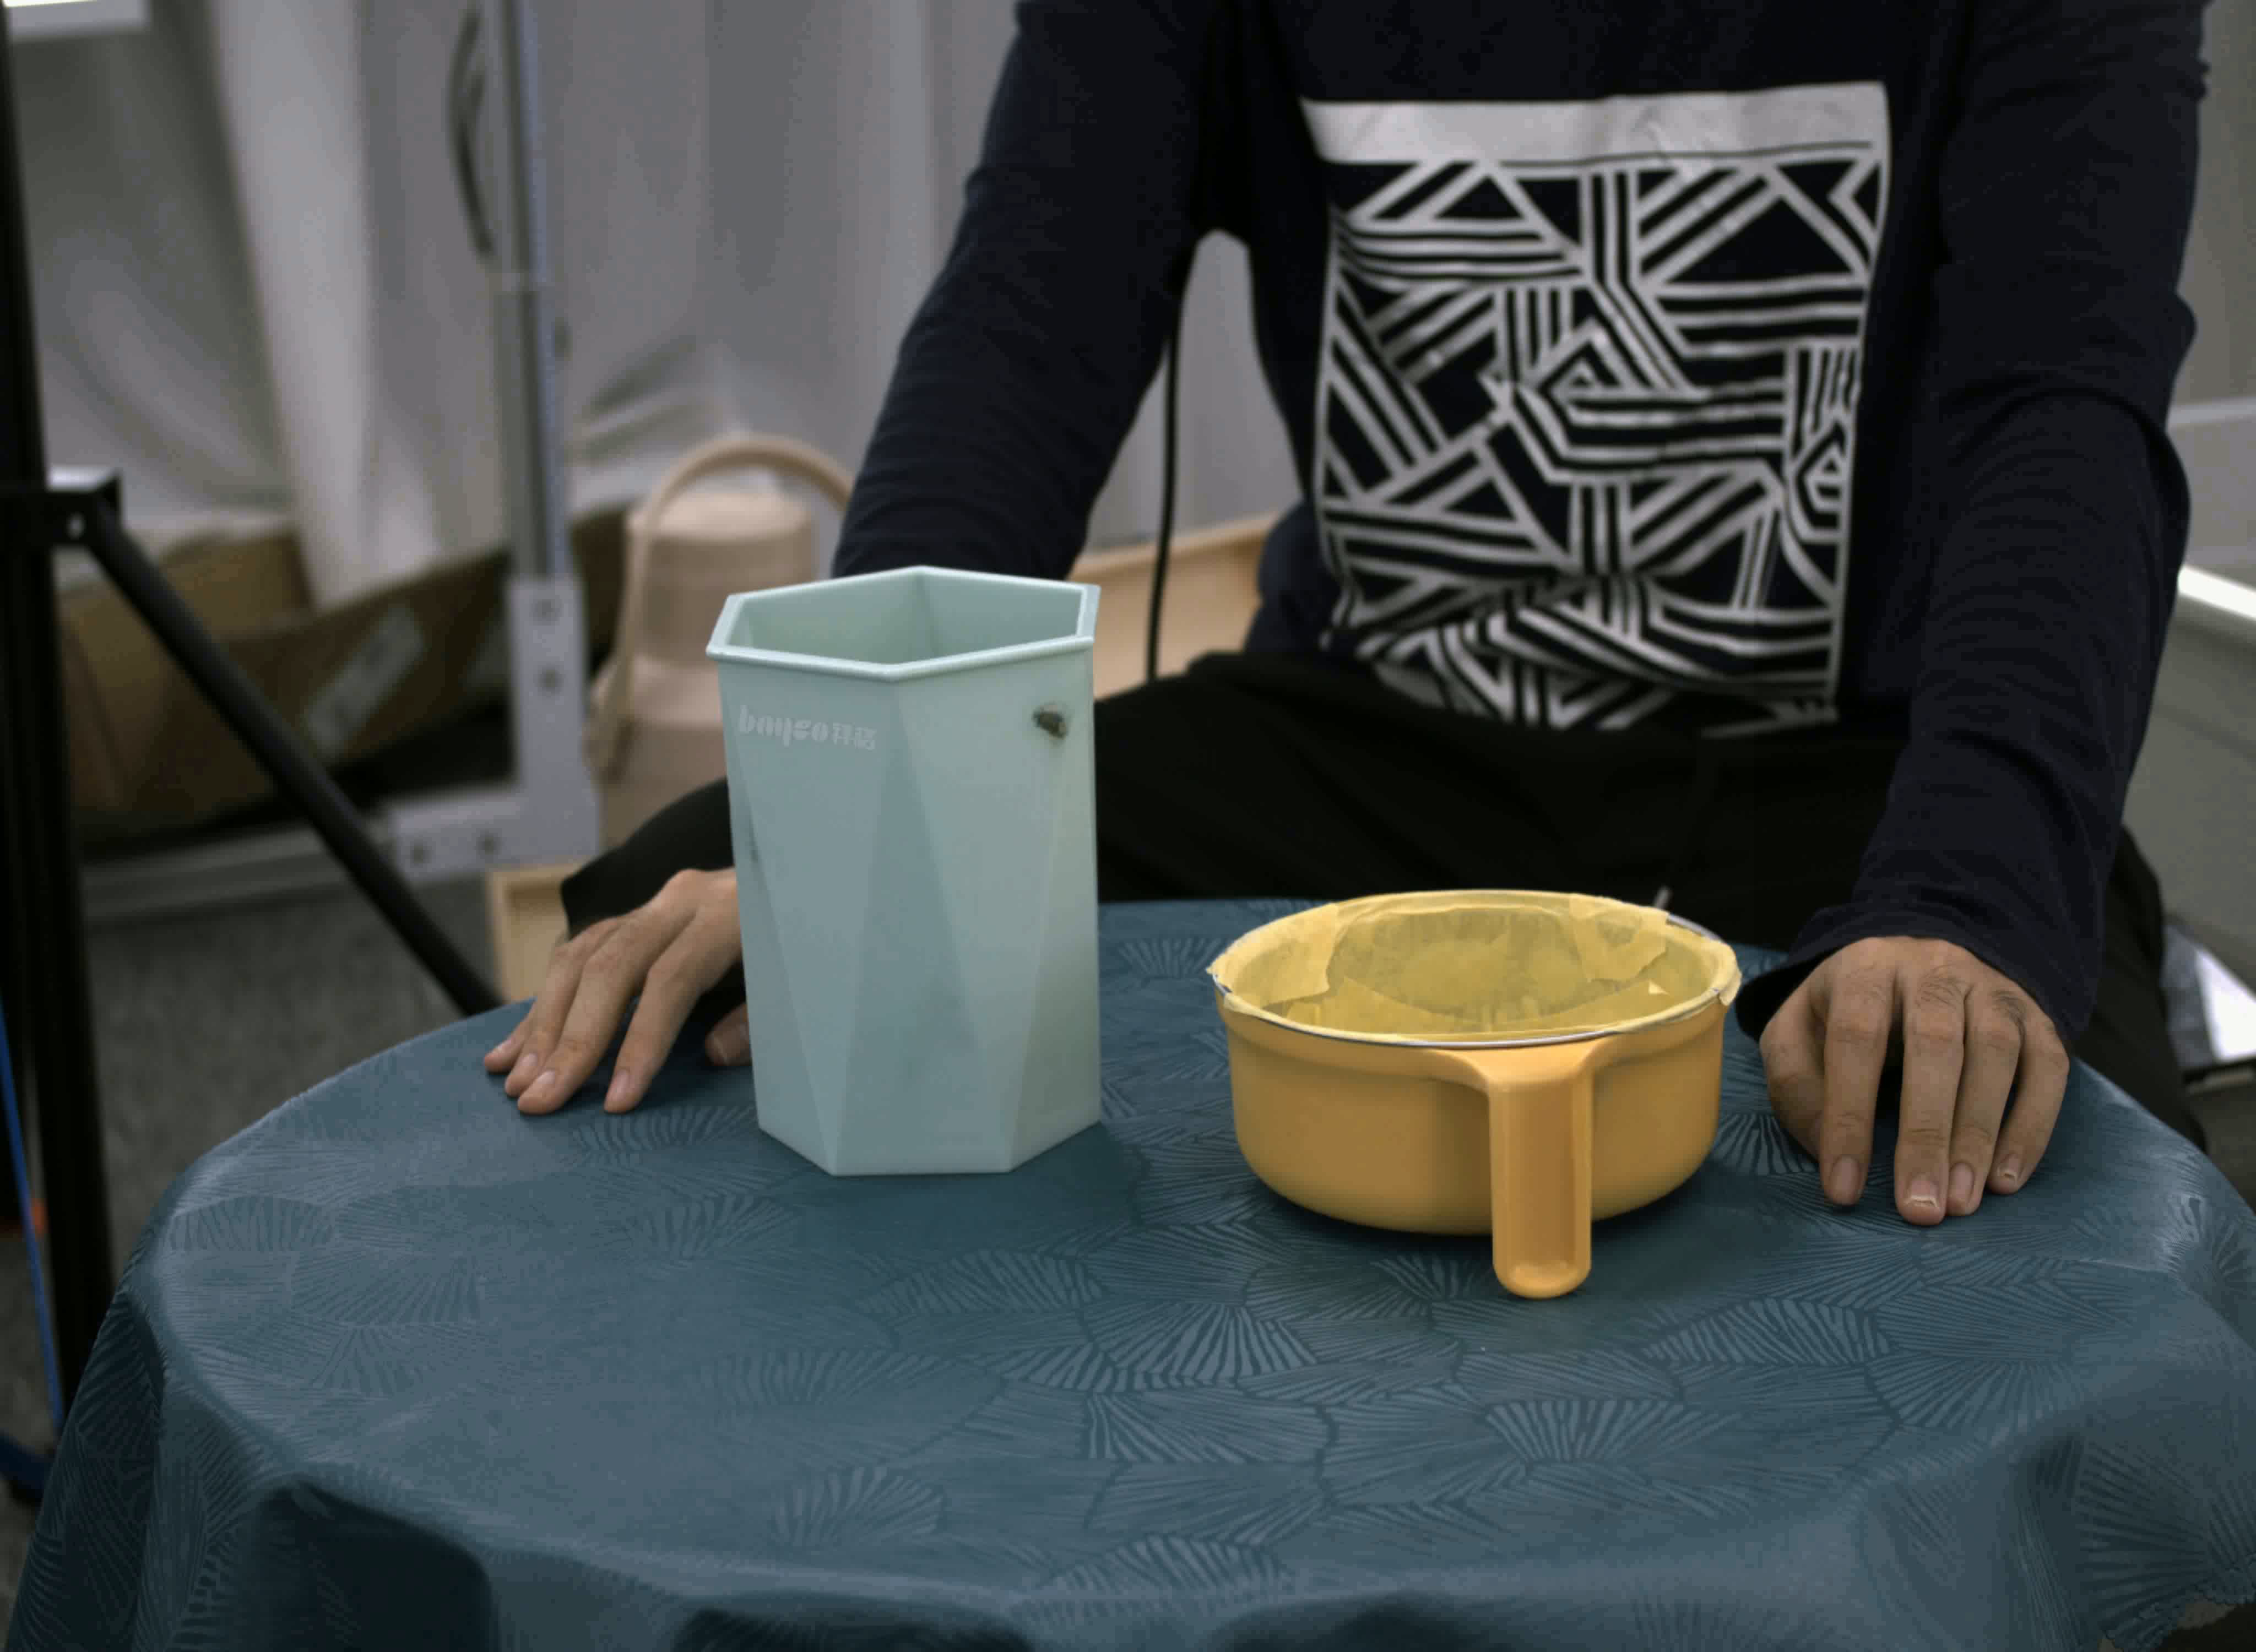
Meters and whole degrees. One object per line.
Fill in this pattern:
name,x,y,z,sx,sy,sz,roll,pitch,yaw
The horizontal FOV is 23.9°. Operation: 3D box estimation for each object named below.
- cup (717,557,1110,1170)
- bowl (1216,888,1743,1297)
cup,-0.062,0.013,1.606,0.133,0.163,0.113,8,17,30
bowl,0.102,0.074,1.538,0.151,0.074,0.181,-1,14,-8
